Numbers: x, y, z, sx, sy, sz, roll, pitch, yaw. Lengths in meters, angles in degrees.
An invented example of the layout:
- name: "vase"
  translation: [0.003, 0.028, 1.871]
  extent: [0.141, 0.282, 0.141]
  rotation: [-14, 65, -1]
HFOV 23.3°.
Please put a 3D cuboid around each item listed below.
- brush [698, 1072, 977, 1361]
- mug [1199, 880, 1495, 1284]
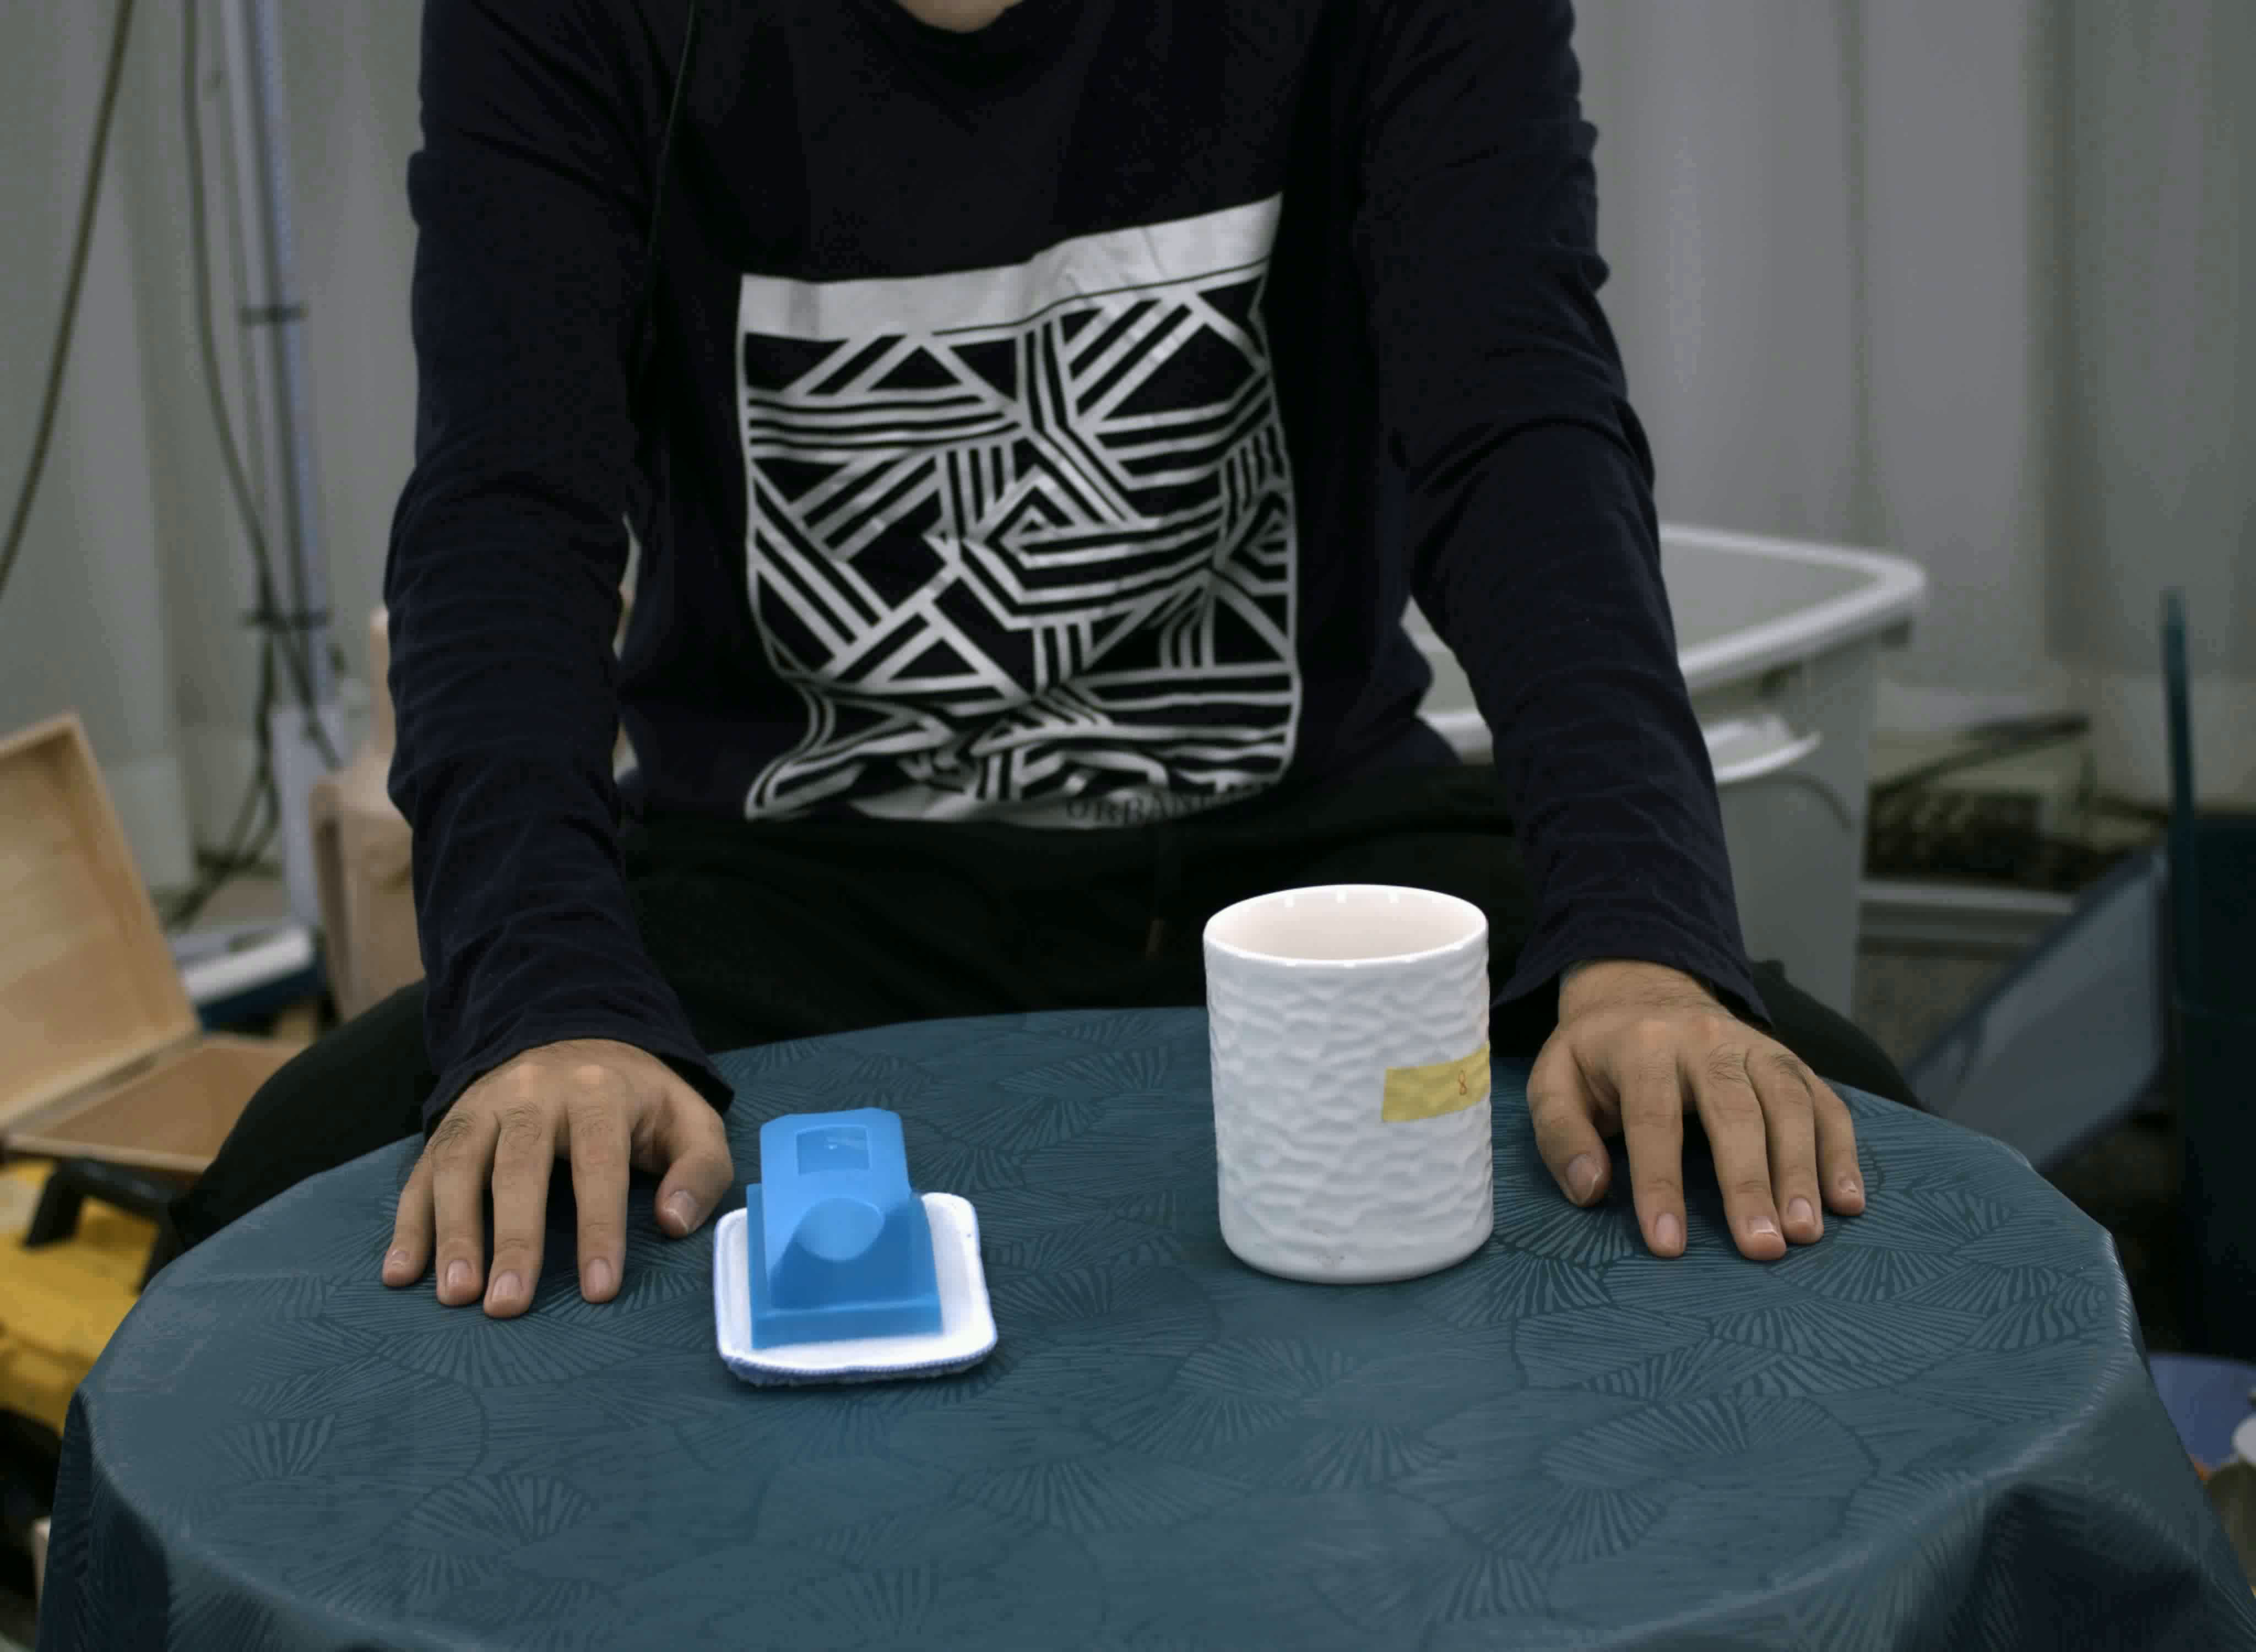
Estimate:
- name: "brush"
  translation: [-0.086, 0.113, 1.622]
  extent: [0.083, 0.055, 0.145]
  rotation: [0, 17, -2]
- name: "mug"
  translation: [0.060, 0.074, 1.660]
  extent: [0.084, 0.101, 0.119]
  rotation: [-10, 16, -22]
